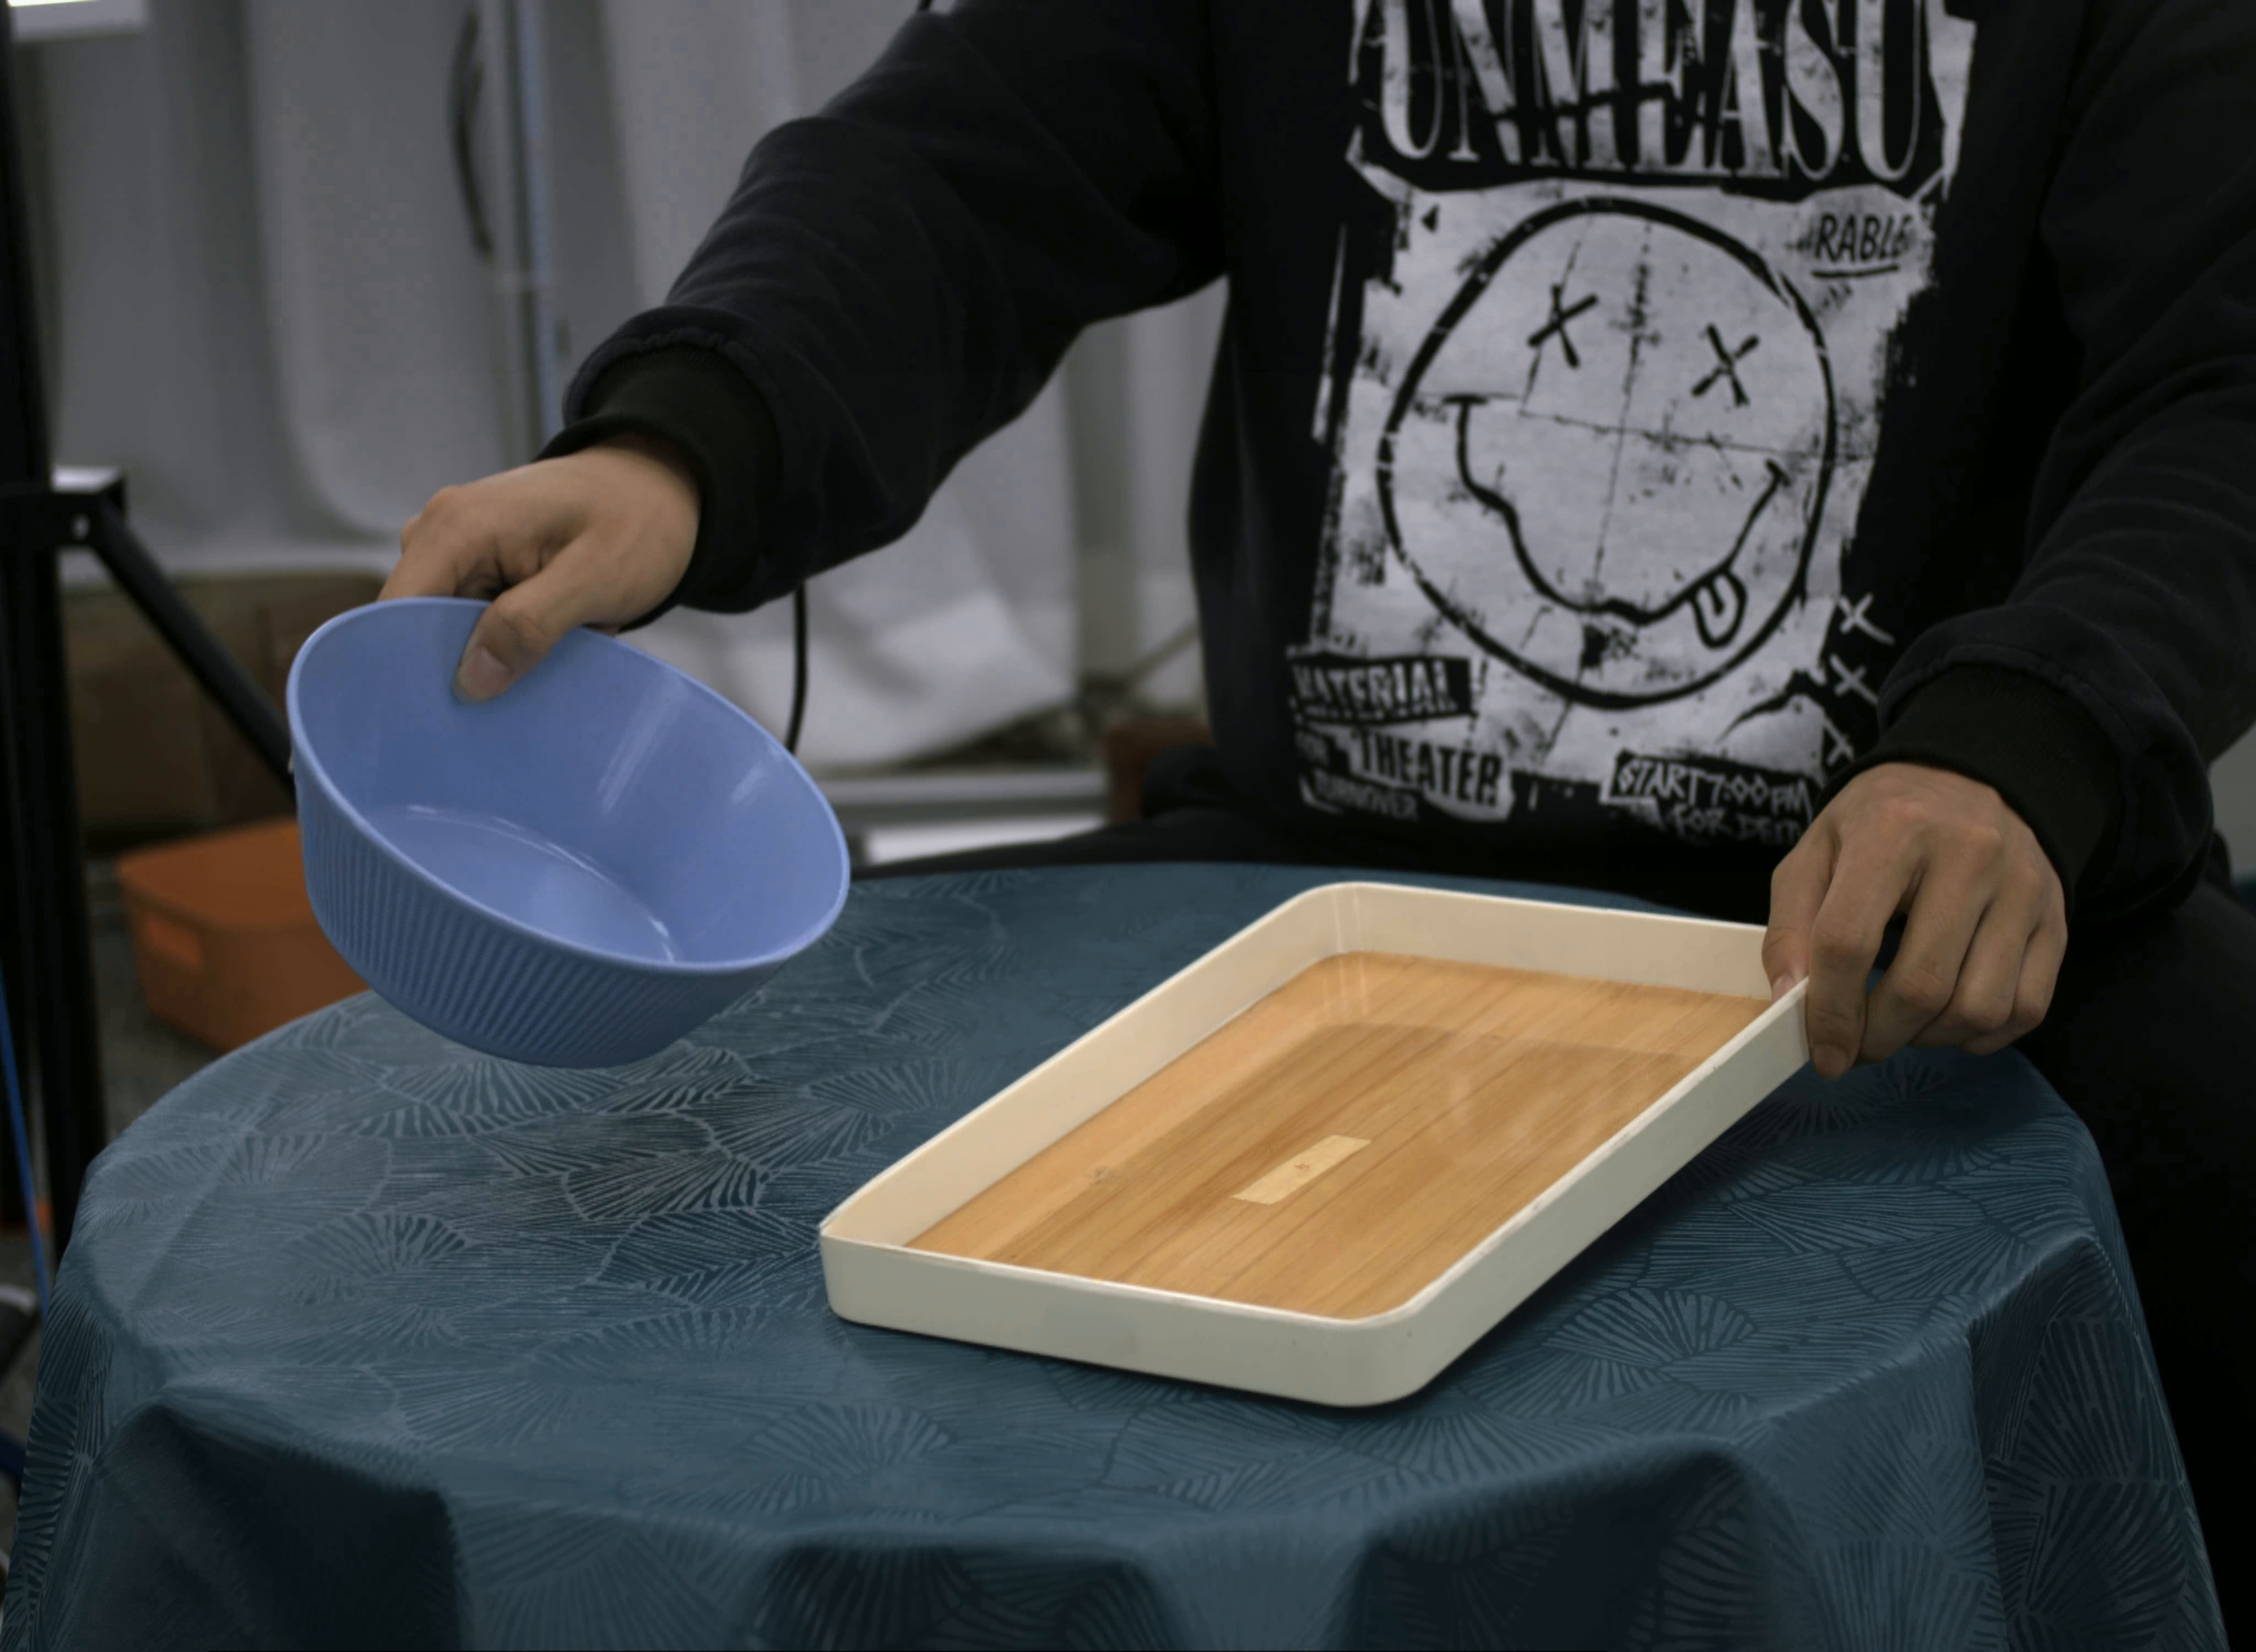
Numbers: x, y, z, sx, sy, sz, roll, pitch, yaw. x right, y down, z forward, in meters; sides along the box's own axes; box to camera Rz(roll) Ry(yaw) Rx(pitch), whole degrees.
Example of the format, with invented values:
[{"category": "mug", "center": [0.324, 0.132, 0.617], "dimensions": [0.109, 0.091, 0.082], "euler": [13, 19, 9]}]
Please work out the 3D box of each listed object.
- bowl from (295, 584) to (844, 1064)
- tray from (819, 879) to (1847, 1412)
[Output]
[{"category": "bowl", "center": [-0.175, 0.008, 1.576], "dimensions": [0.173, 0.071, 0.178], "euler": [21, 30, -14]}, {"category": "tray", "center": [0.066, 0.086, 1.531], "dimensions": [0.195, 0.027, 0.295], "euler": [7, 23, 32]}]
